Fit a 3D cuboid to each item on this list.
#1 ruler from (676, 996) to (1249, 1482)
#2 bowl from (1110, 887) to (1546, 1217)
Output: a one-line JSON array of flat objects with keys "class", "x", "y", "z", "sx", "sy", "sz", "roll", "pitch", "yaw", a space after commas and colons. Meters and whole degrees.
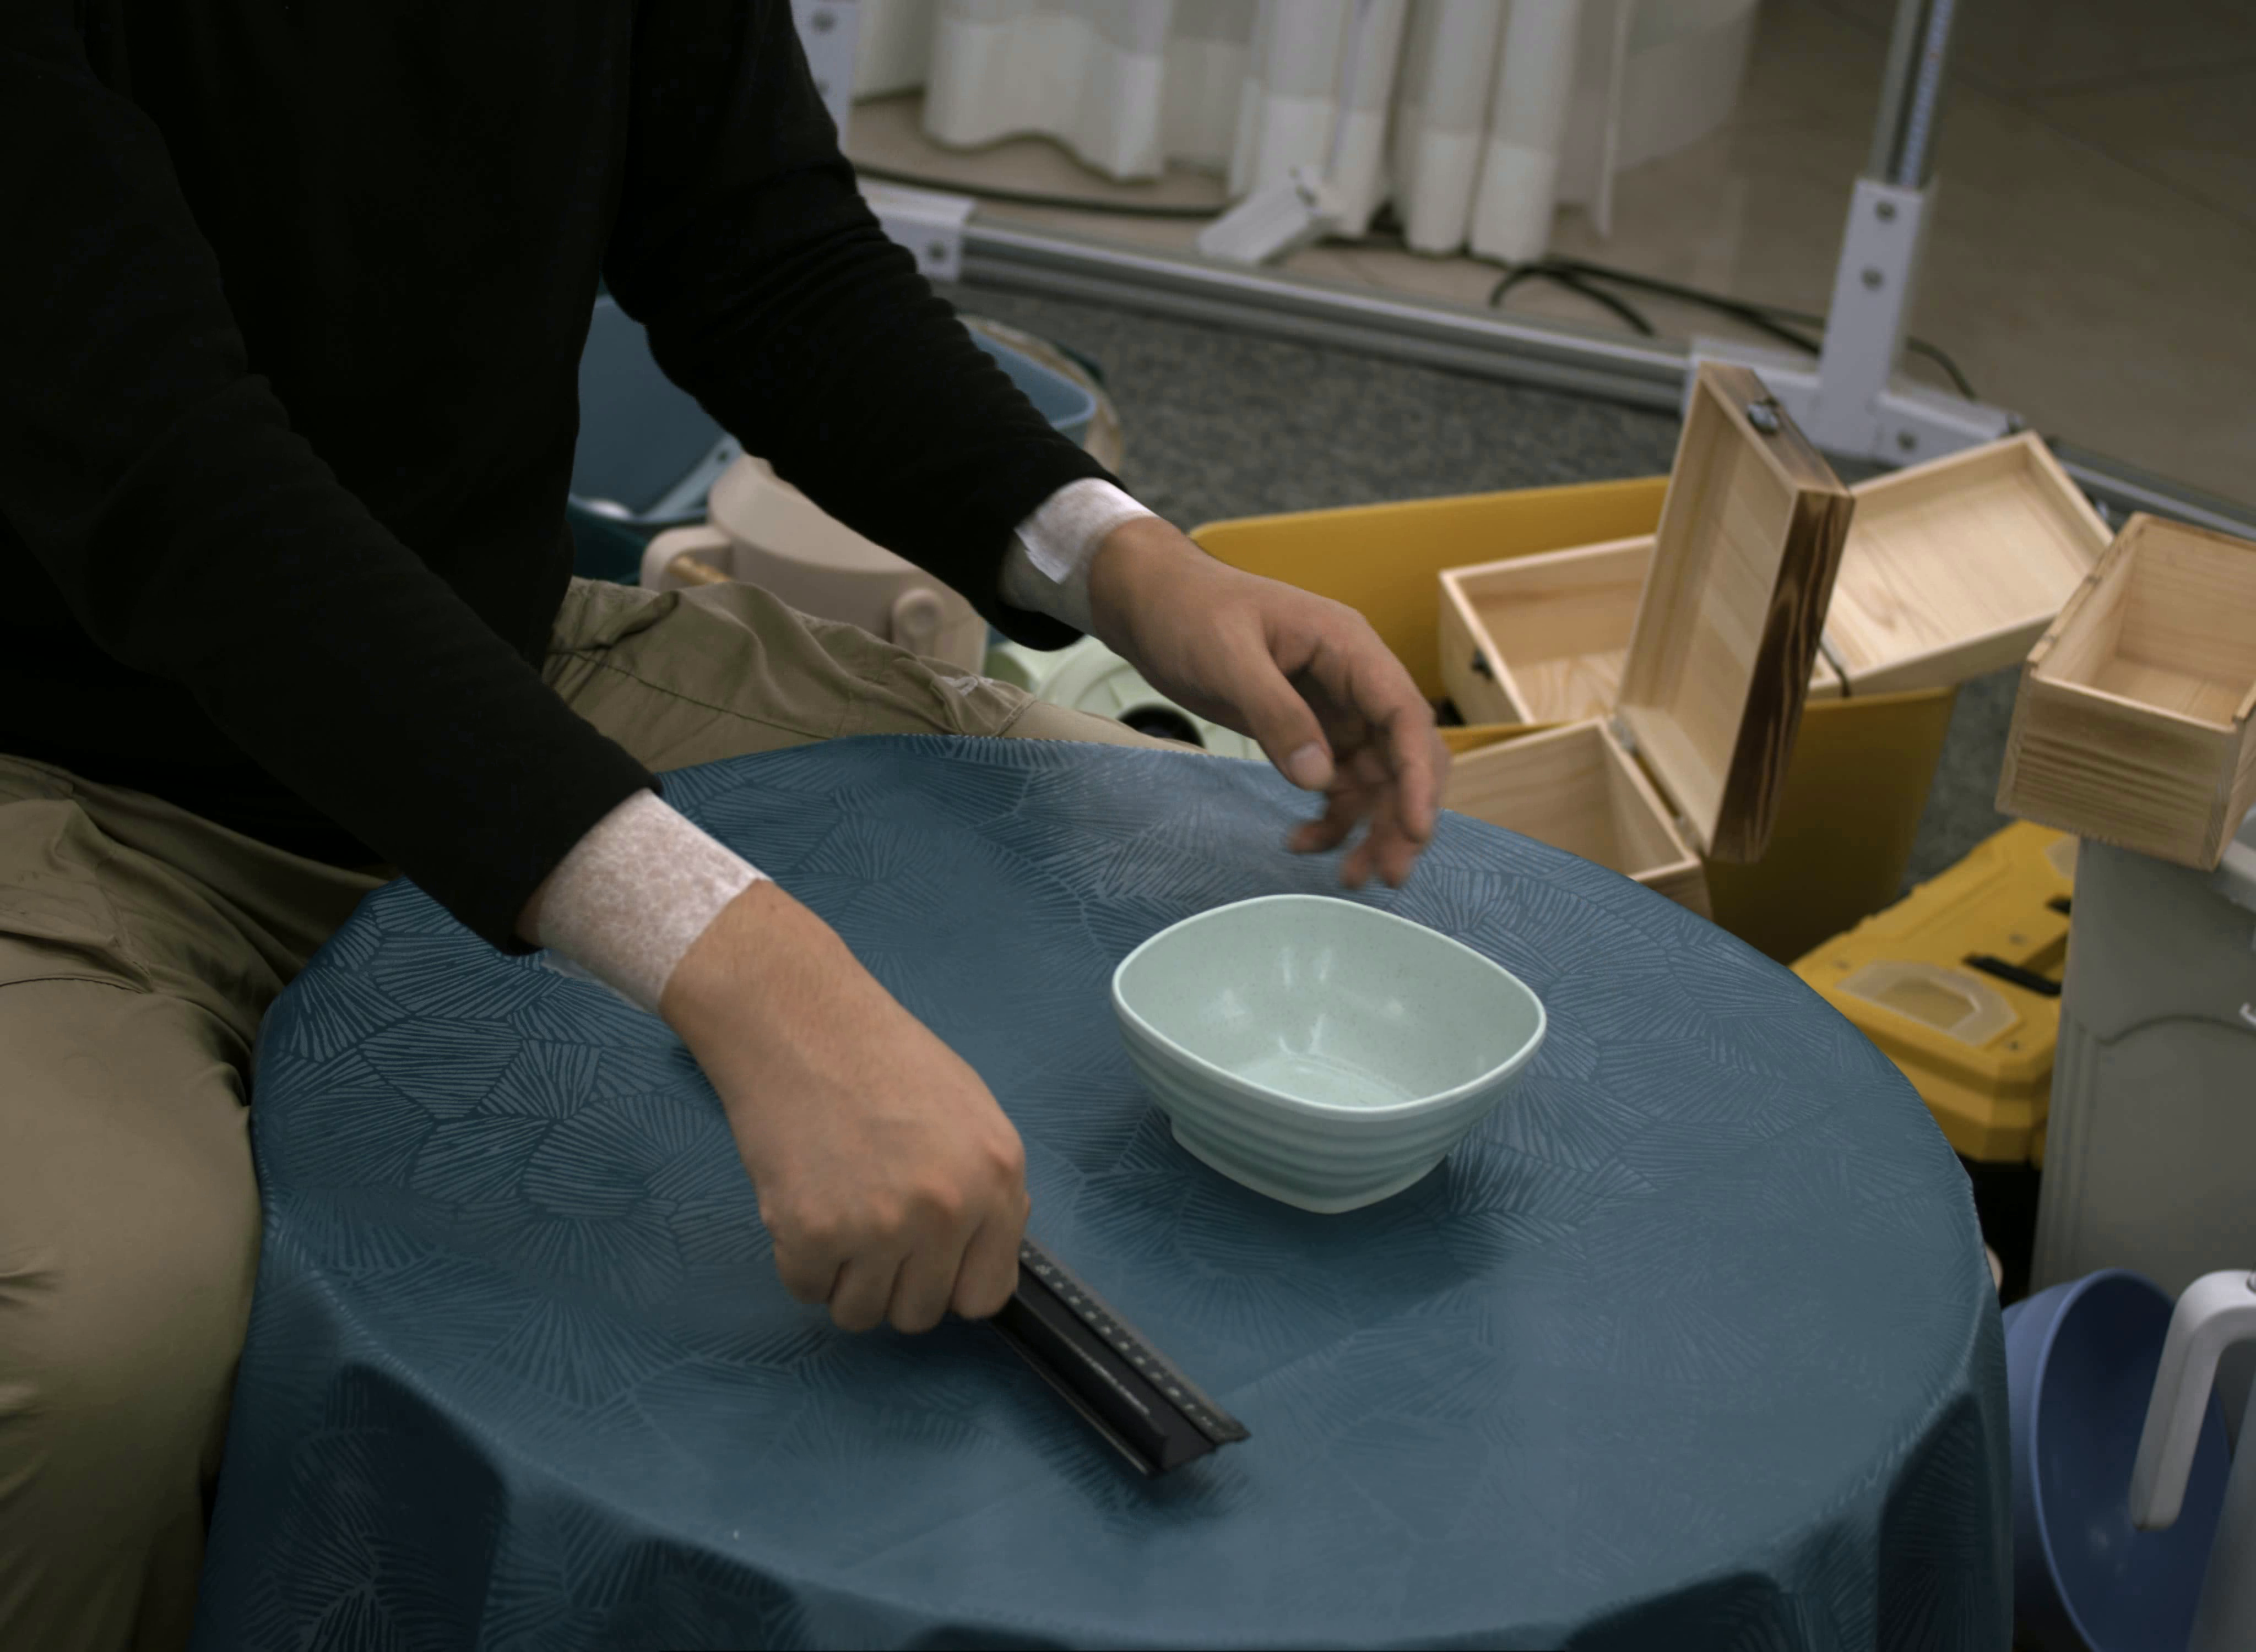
[{"class": "ruler", "x": -0.059, "y": 0.125, "z": 1.746, "sx": 0.039, "sy": 0.017, "sz": 0.315, "roll": -18, "pitch": 34, "yaw": -27}, {"class": "bowl", "x": 0.065, "y": 0.084, "z": 1.833, "sx": 0.151, "sy": 0.058, "sz": 0.152, "roll": 6, "pitch": 29, "yaw": -4}]
